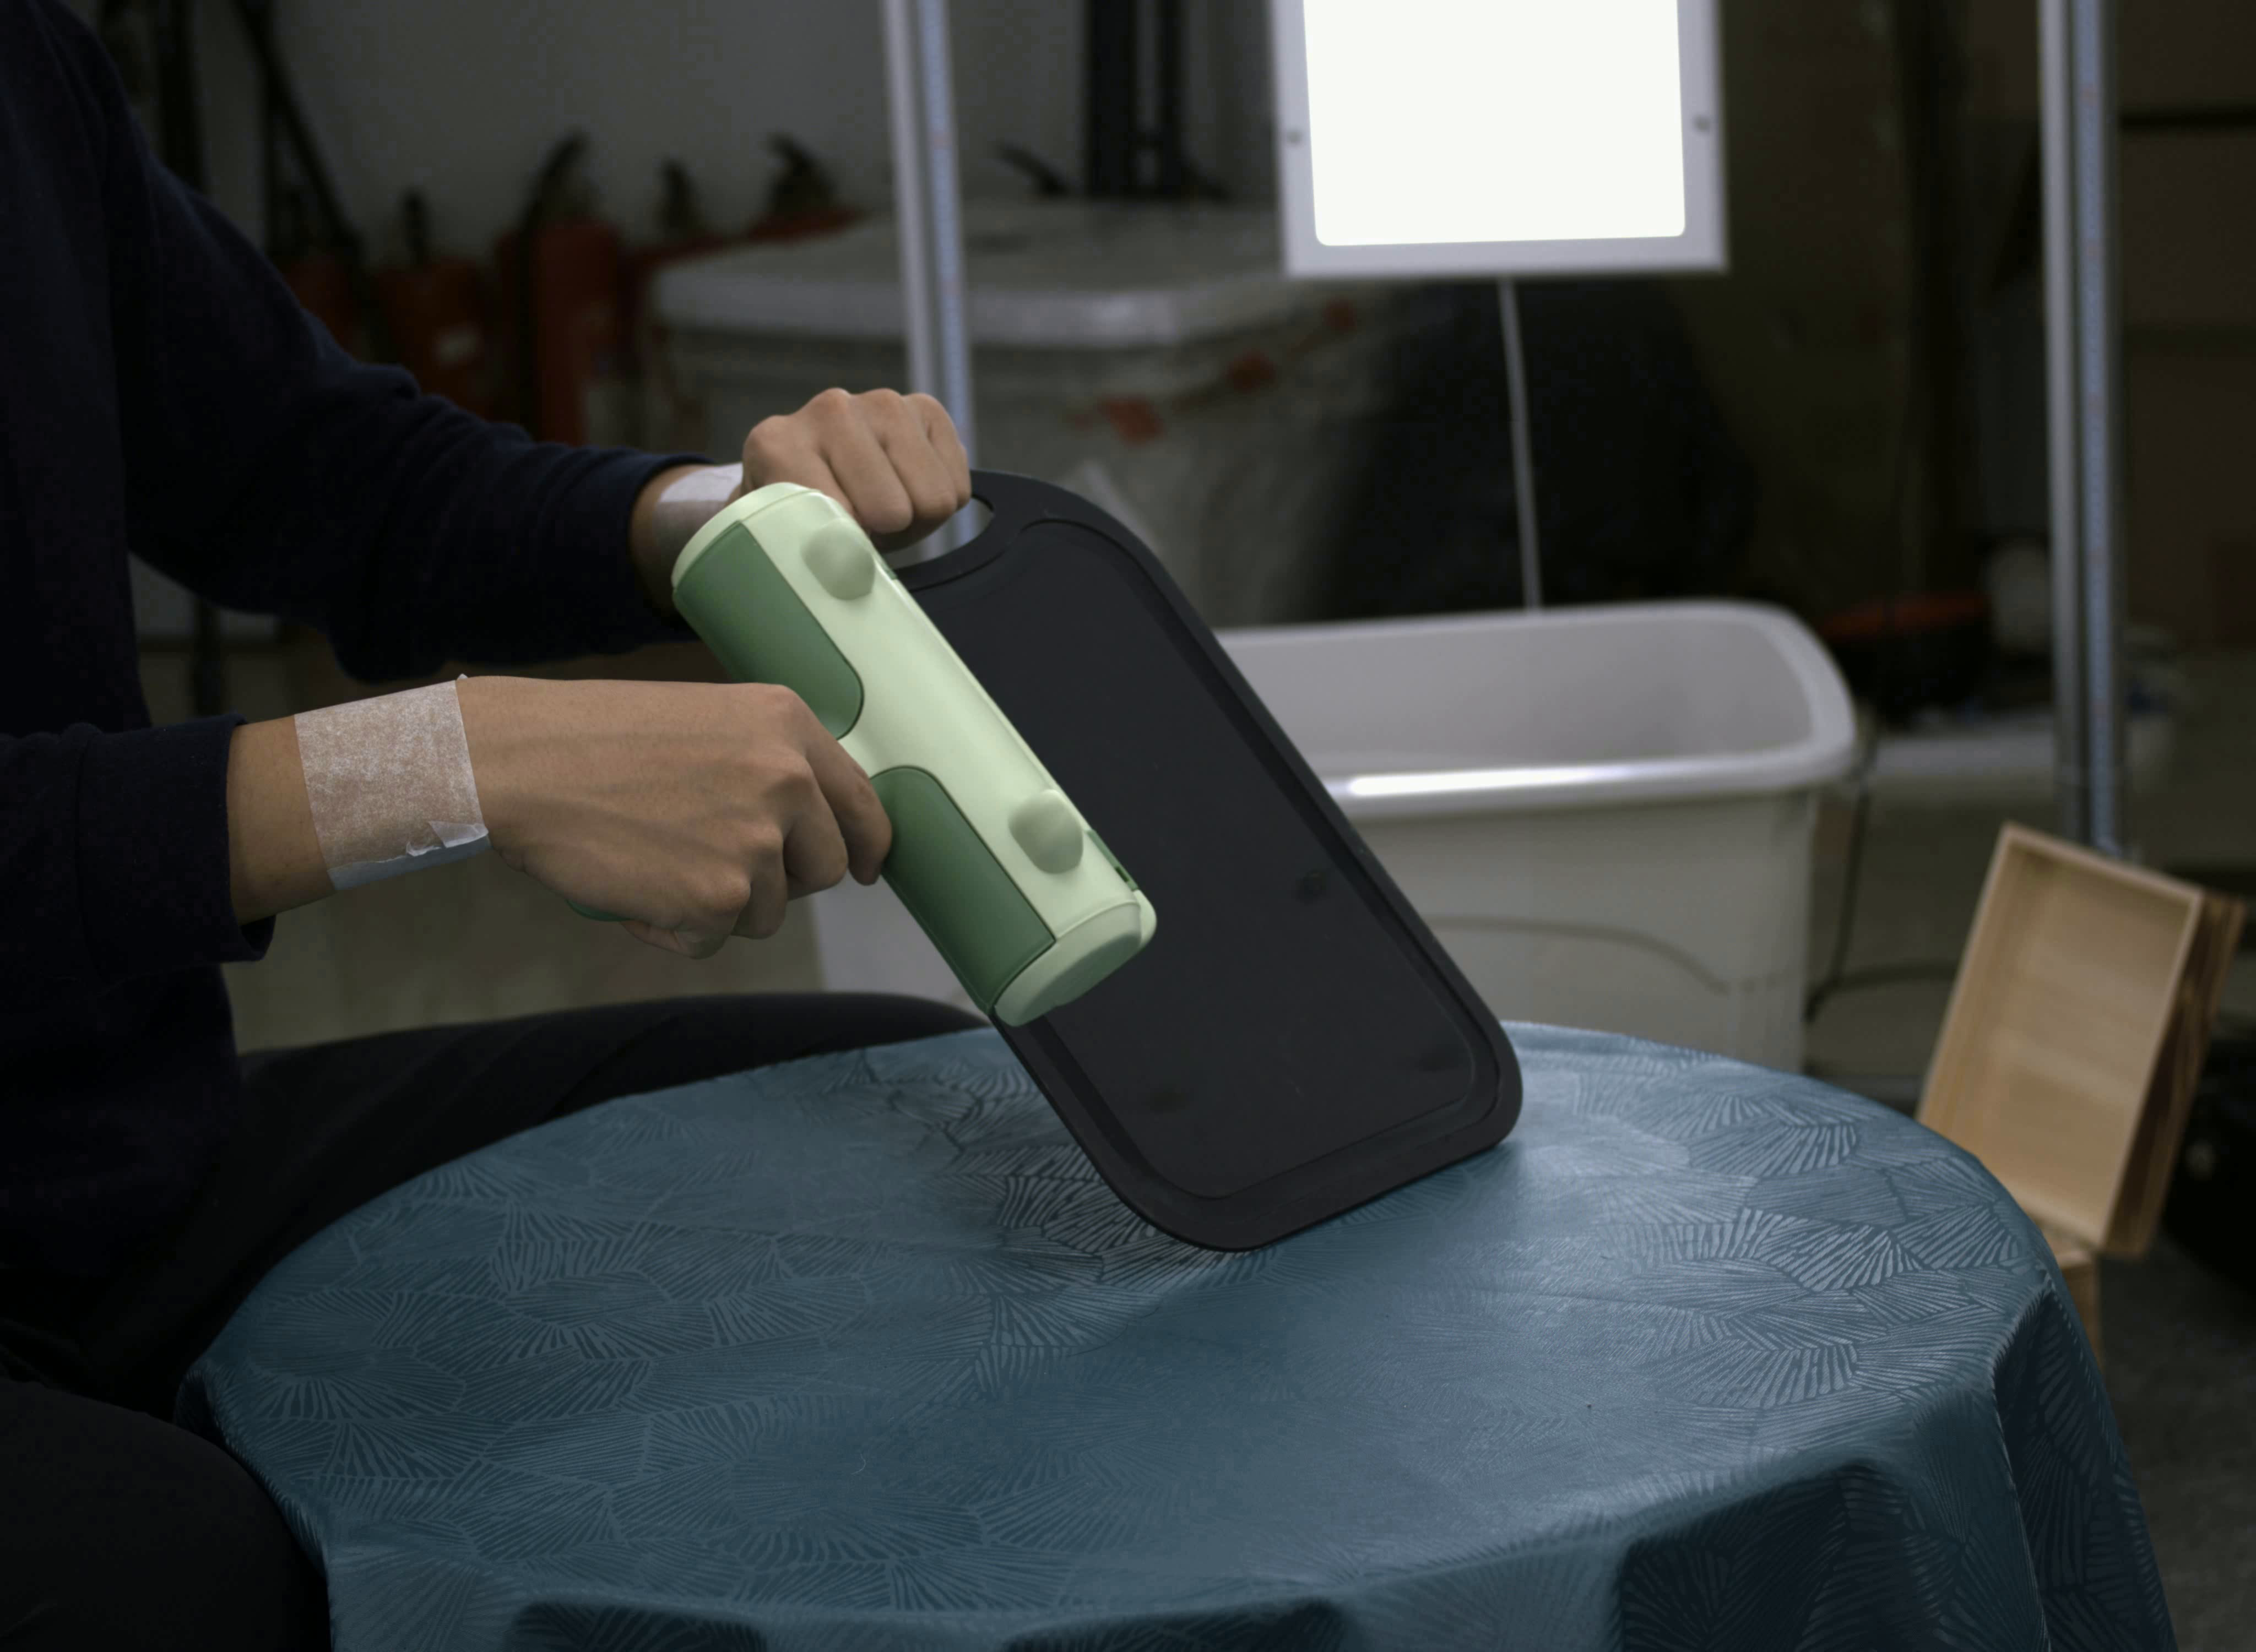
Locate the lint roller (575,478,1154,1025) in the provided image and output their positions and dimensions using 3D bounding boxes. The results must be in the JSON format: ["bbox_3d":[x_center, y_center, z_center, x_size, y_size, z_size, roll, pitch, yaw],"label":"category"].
[{"bbox_3d":[-0.098,-0.020,1.751,0.179,0.200,0.083,-18,-25,-53],"label":"lint roller"}]

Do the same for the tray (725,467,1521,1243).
[{"bbox_3d":[-0.006,0.000,1.914,0.206,0.328,0.010,-18,-26,-44],"label":"tray"}]
